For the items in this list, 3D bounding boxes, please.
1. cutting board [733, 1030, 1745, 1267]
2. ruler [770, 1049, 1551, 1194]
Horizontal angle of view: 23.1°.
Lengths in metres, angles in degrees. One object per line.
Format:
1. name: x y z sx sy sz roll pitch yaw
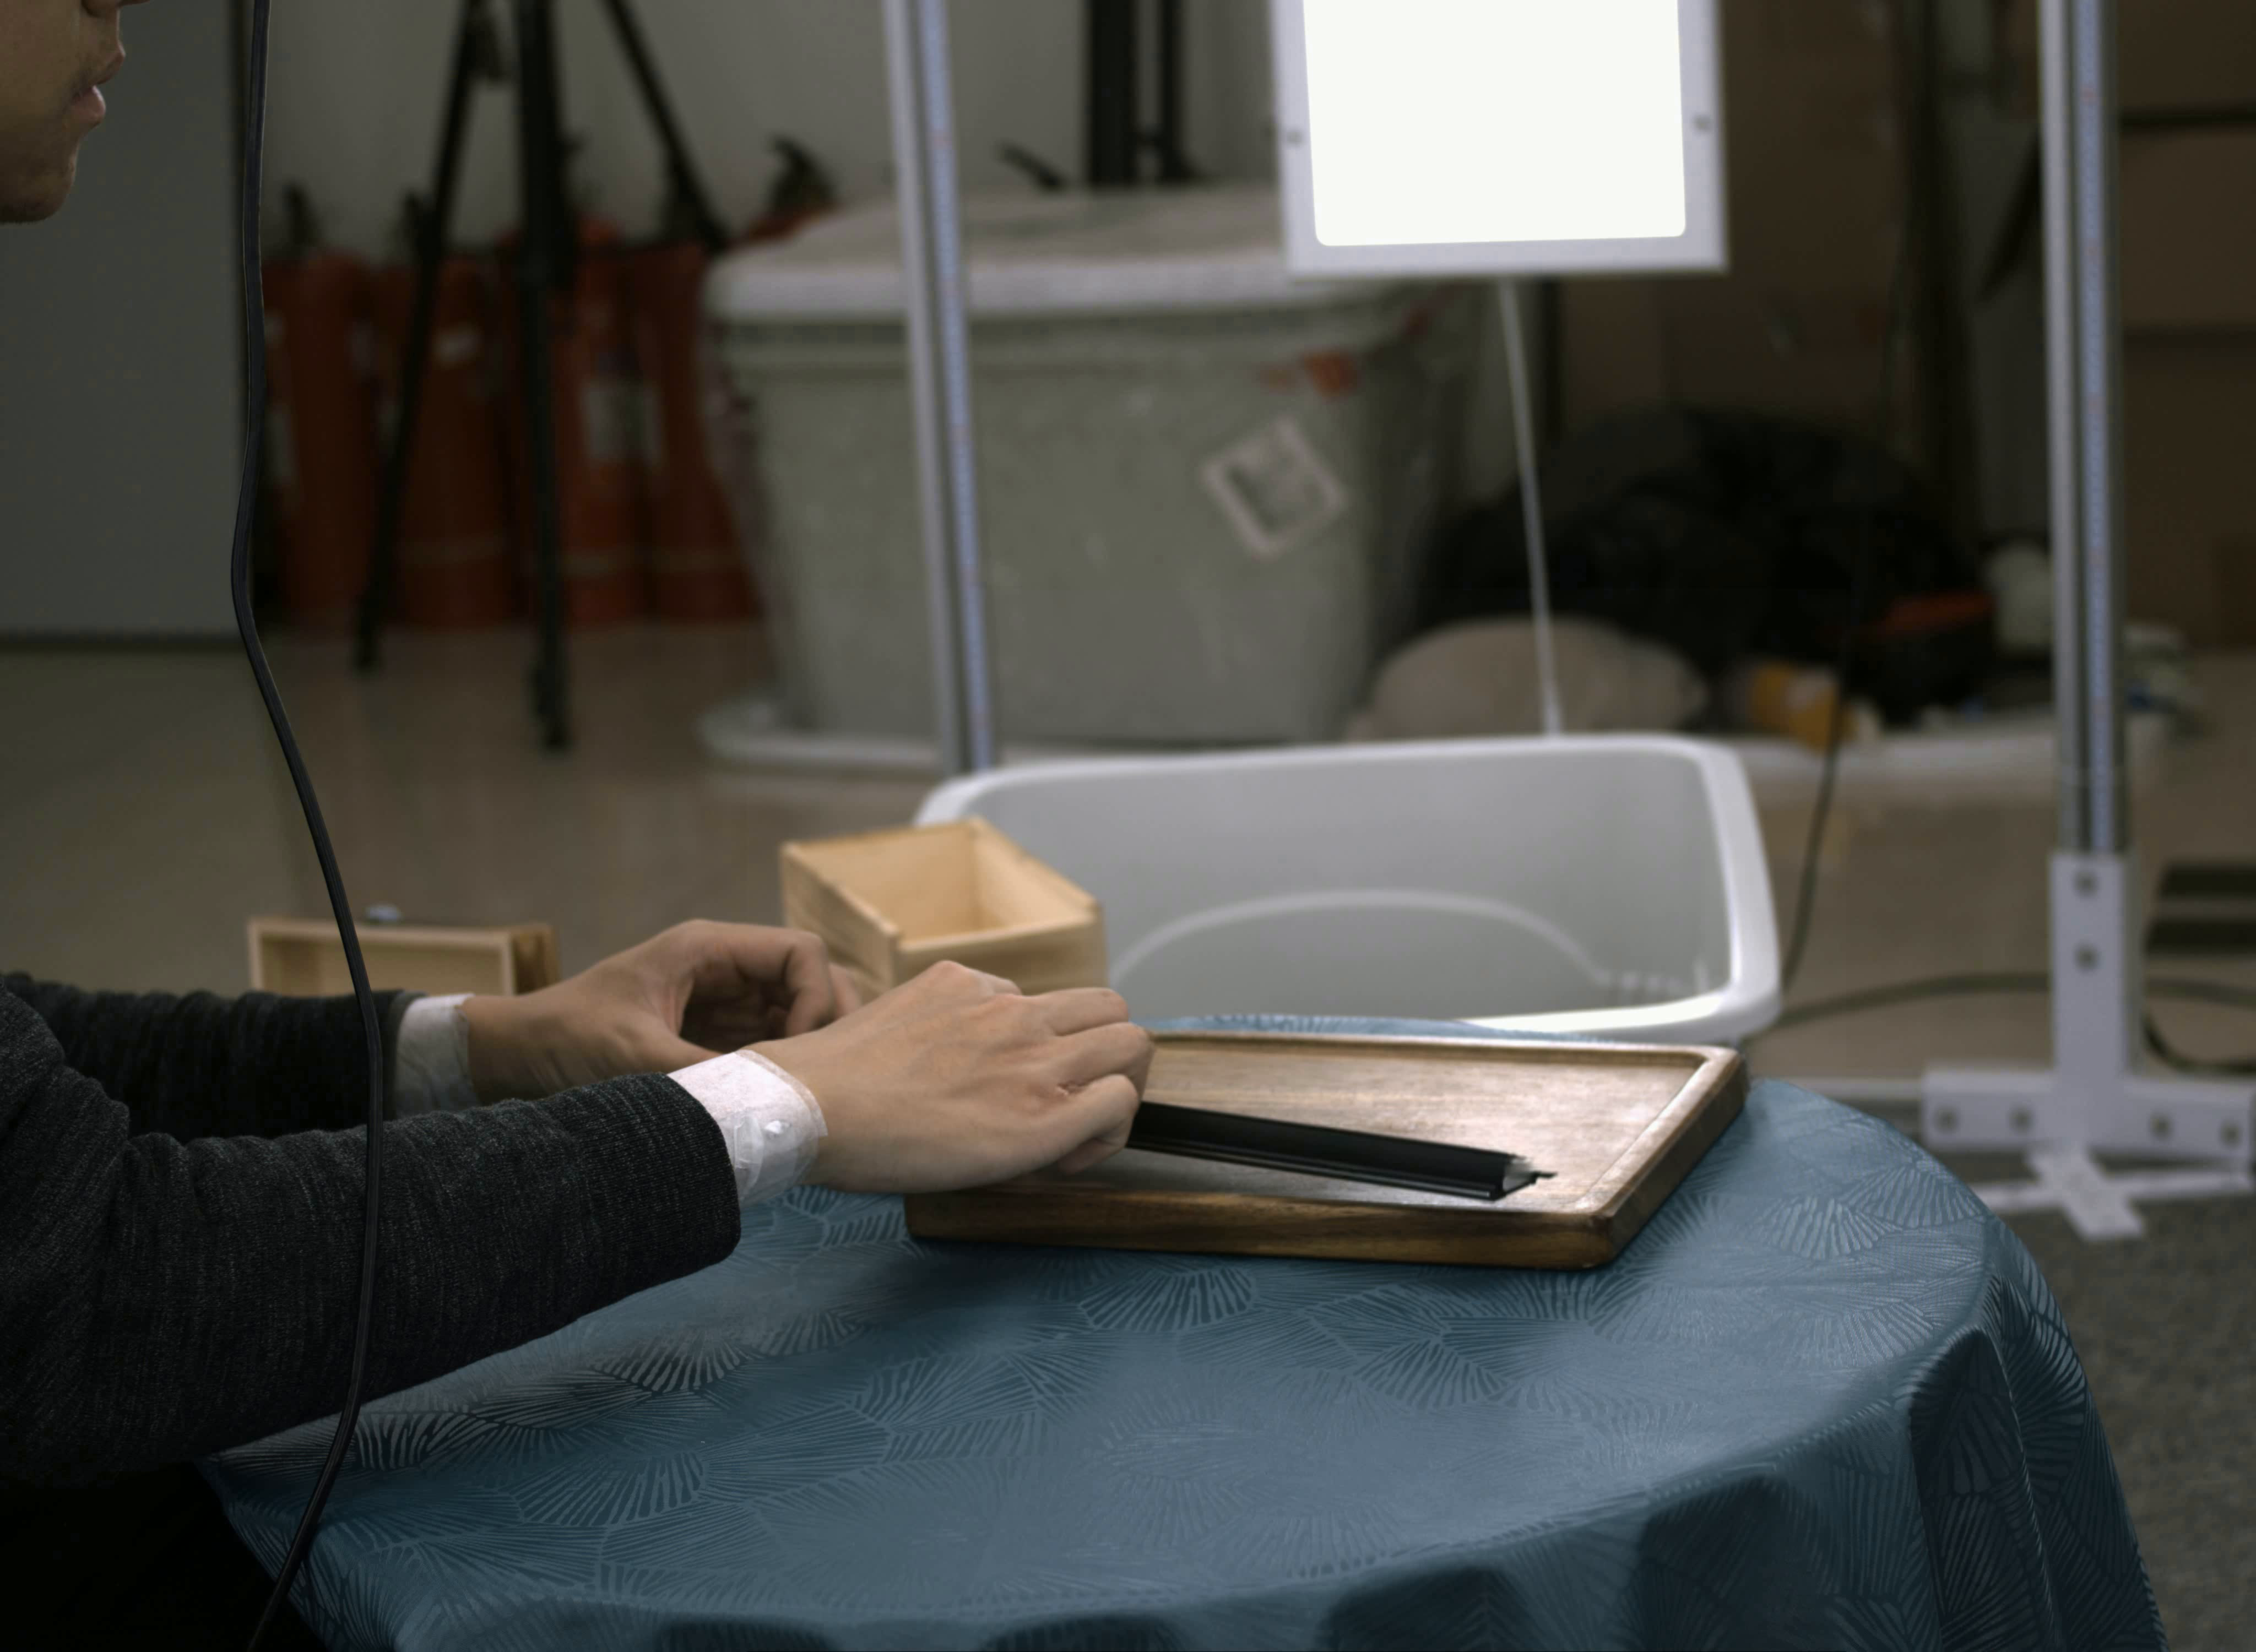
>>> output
1. cutting board: 0.025 0.108 1.921 0.357 0.023 0.197 0 15 23
2. ruler: 0.006 0.096 1.870 0.319 0.017 0.038 5 11 39
